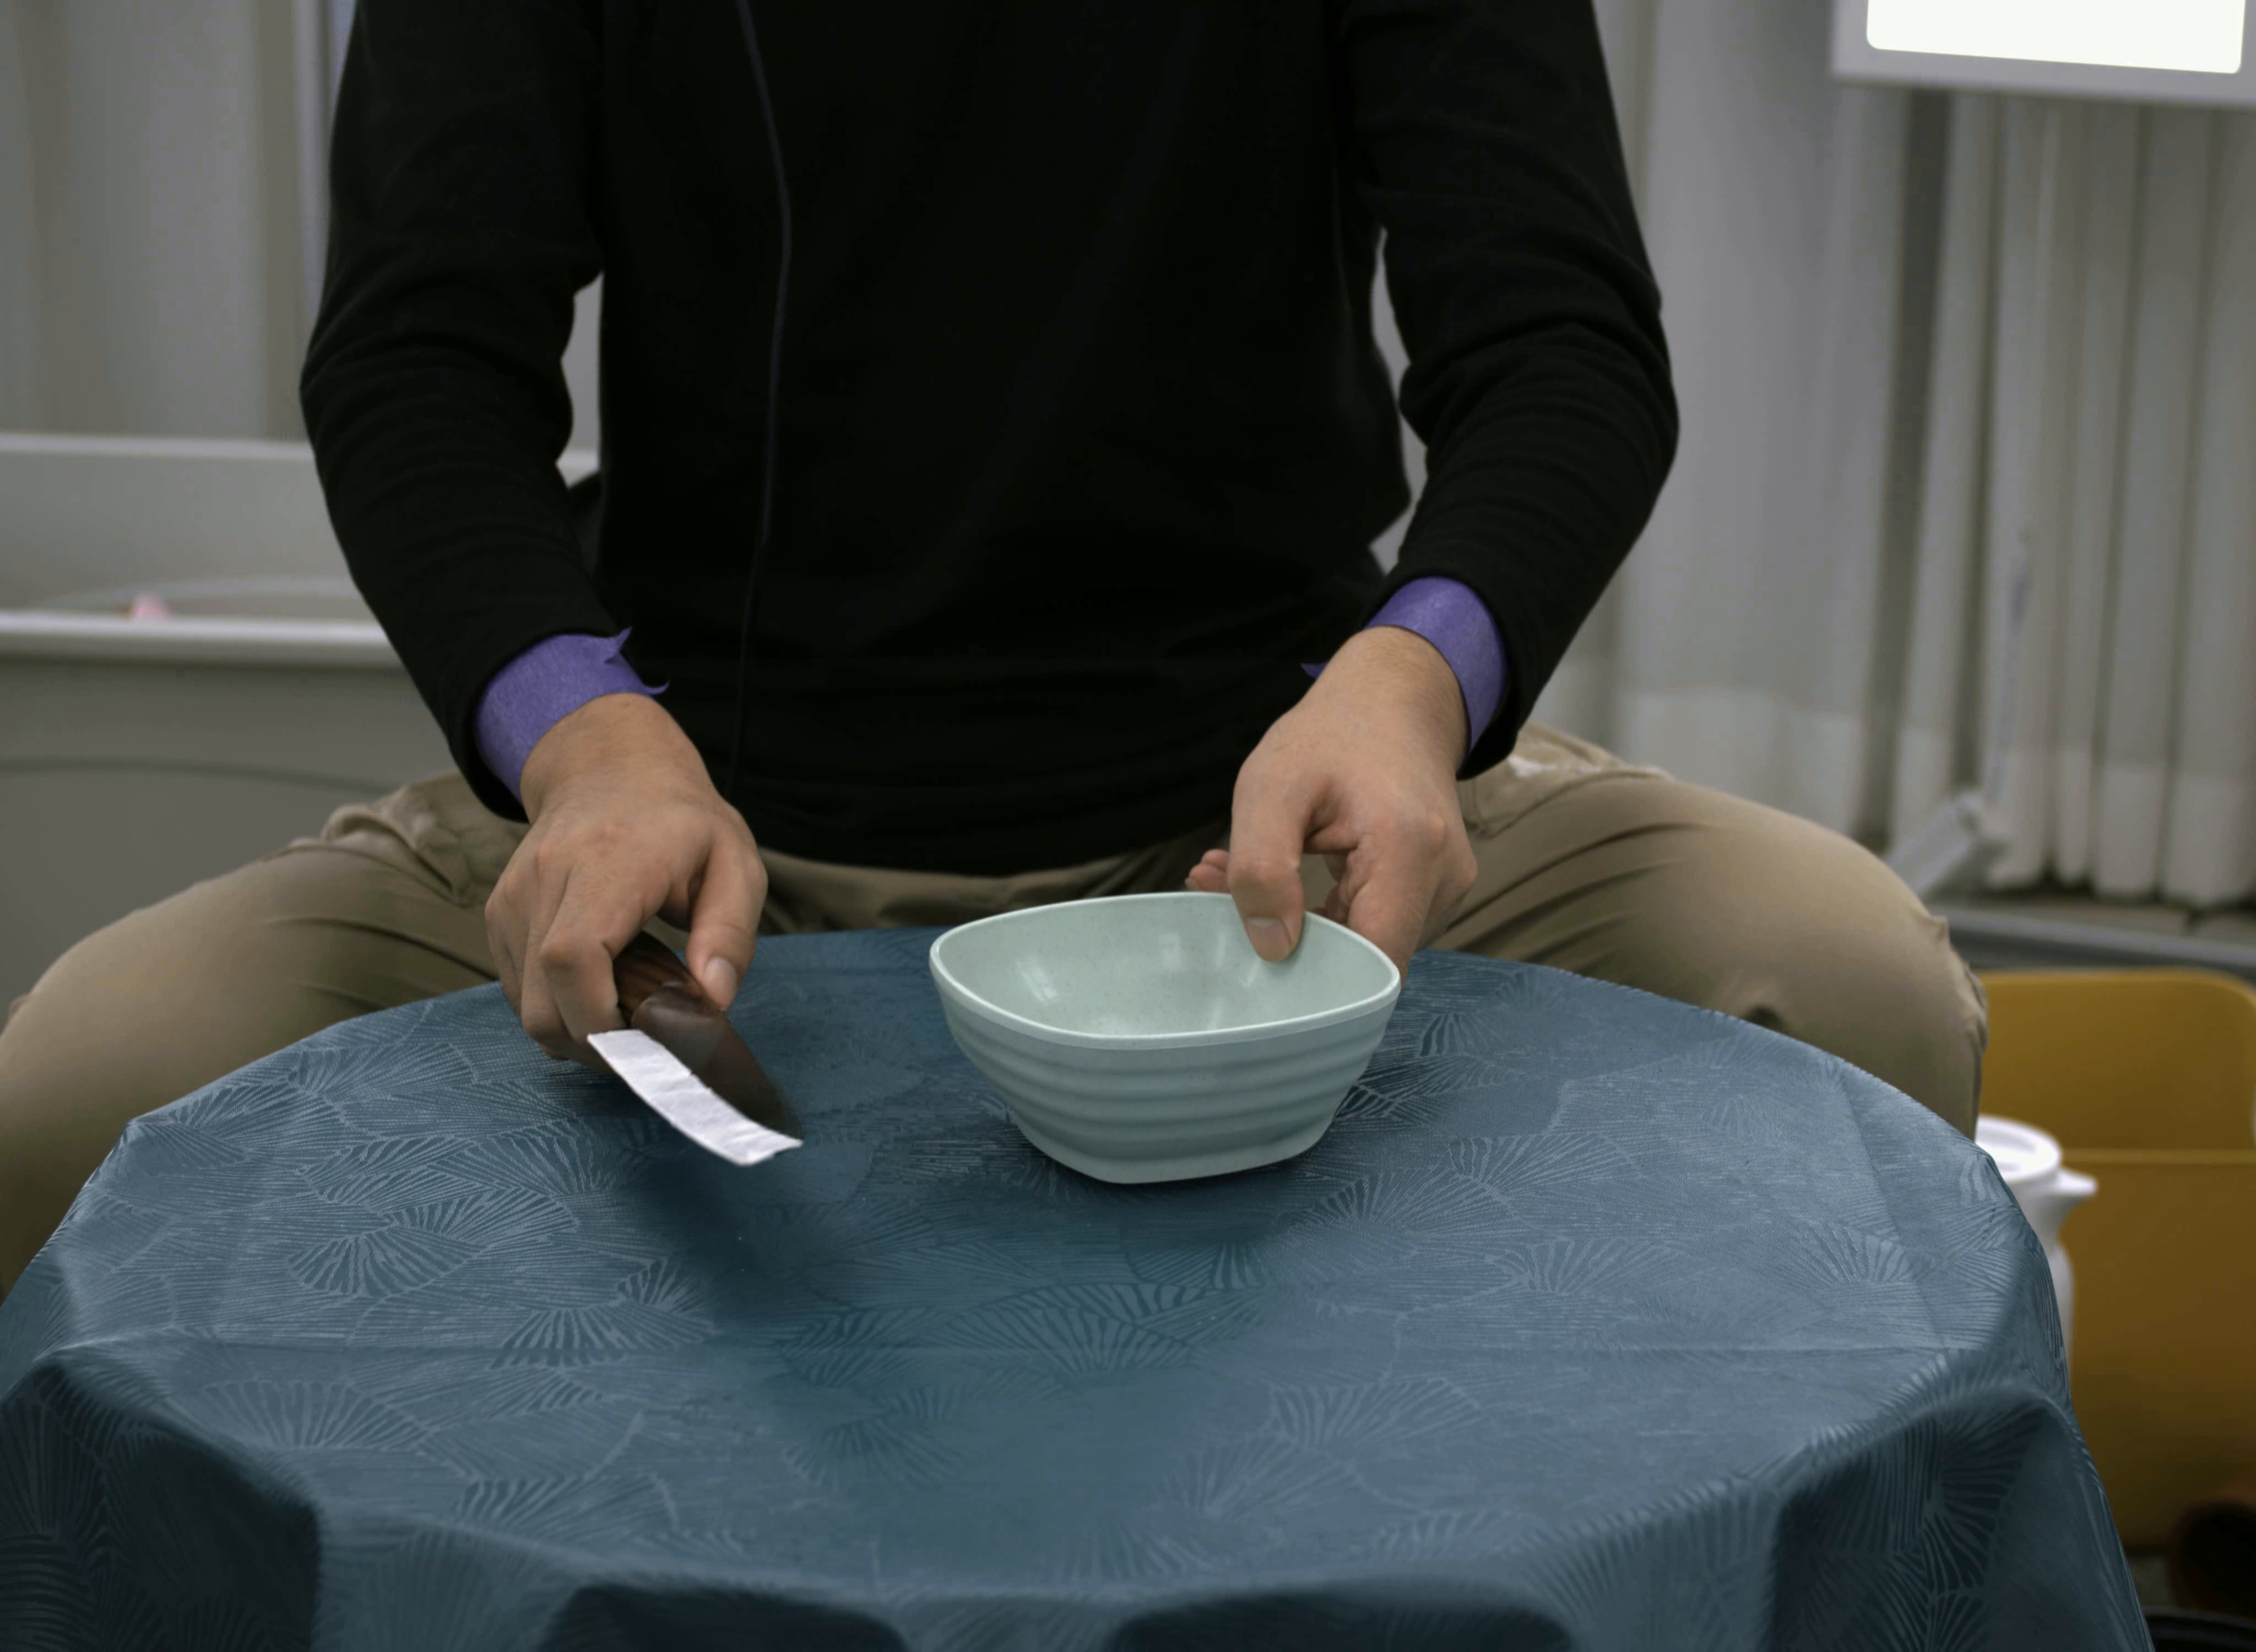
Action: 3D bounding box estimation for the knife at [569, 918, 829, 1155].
[{"bbox_3d":[-0.138,0.066,1.626,0.050,0.020,0.286,-7,13,-14],"label":"knife"}]

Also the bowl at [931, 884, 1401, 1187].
[{"bbox_3d":[0.011,0.069,1.657,0.151,0.059,0.150,1,19,0],"label":"bowl"}]
